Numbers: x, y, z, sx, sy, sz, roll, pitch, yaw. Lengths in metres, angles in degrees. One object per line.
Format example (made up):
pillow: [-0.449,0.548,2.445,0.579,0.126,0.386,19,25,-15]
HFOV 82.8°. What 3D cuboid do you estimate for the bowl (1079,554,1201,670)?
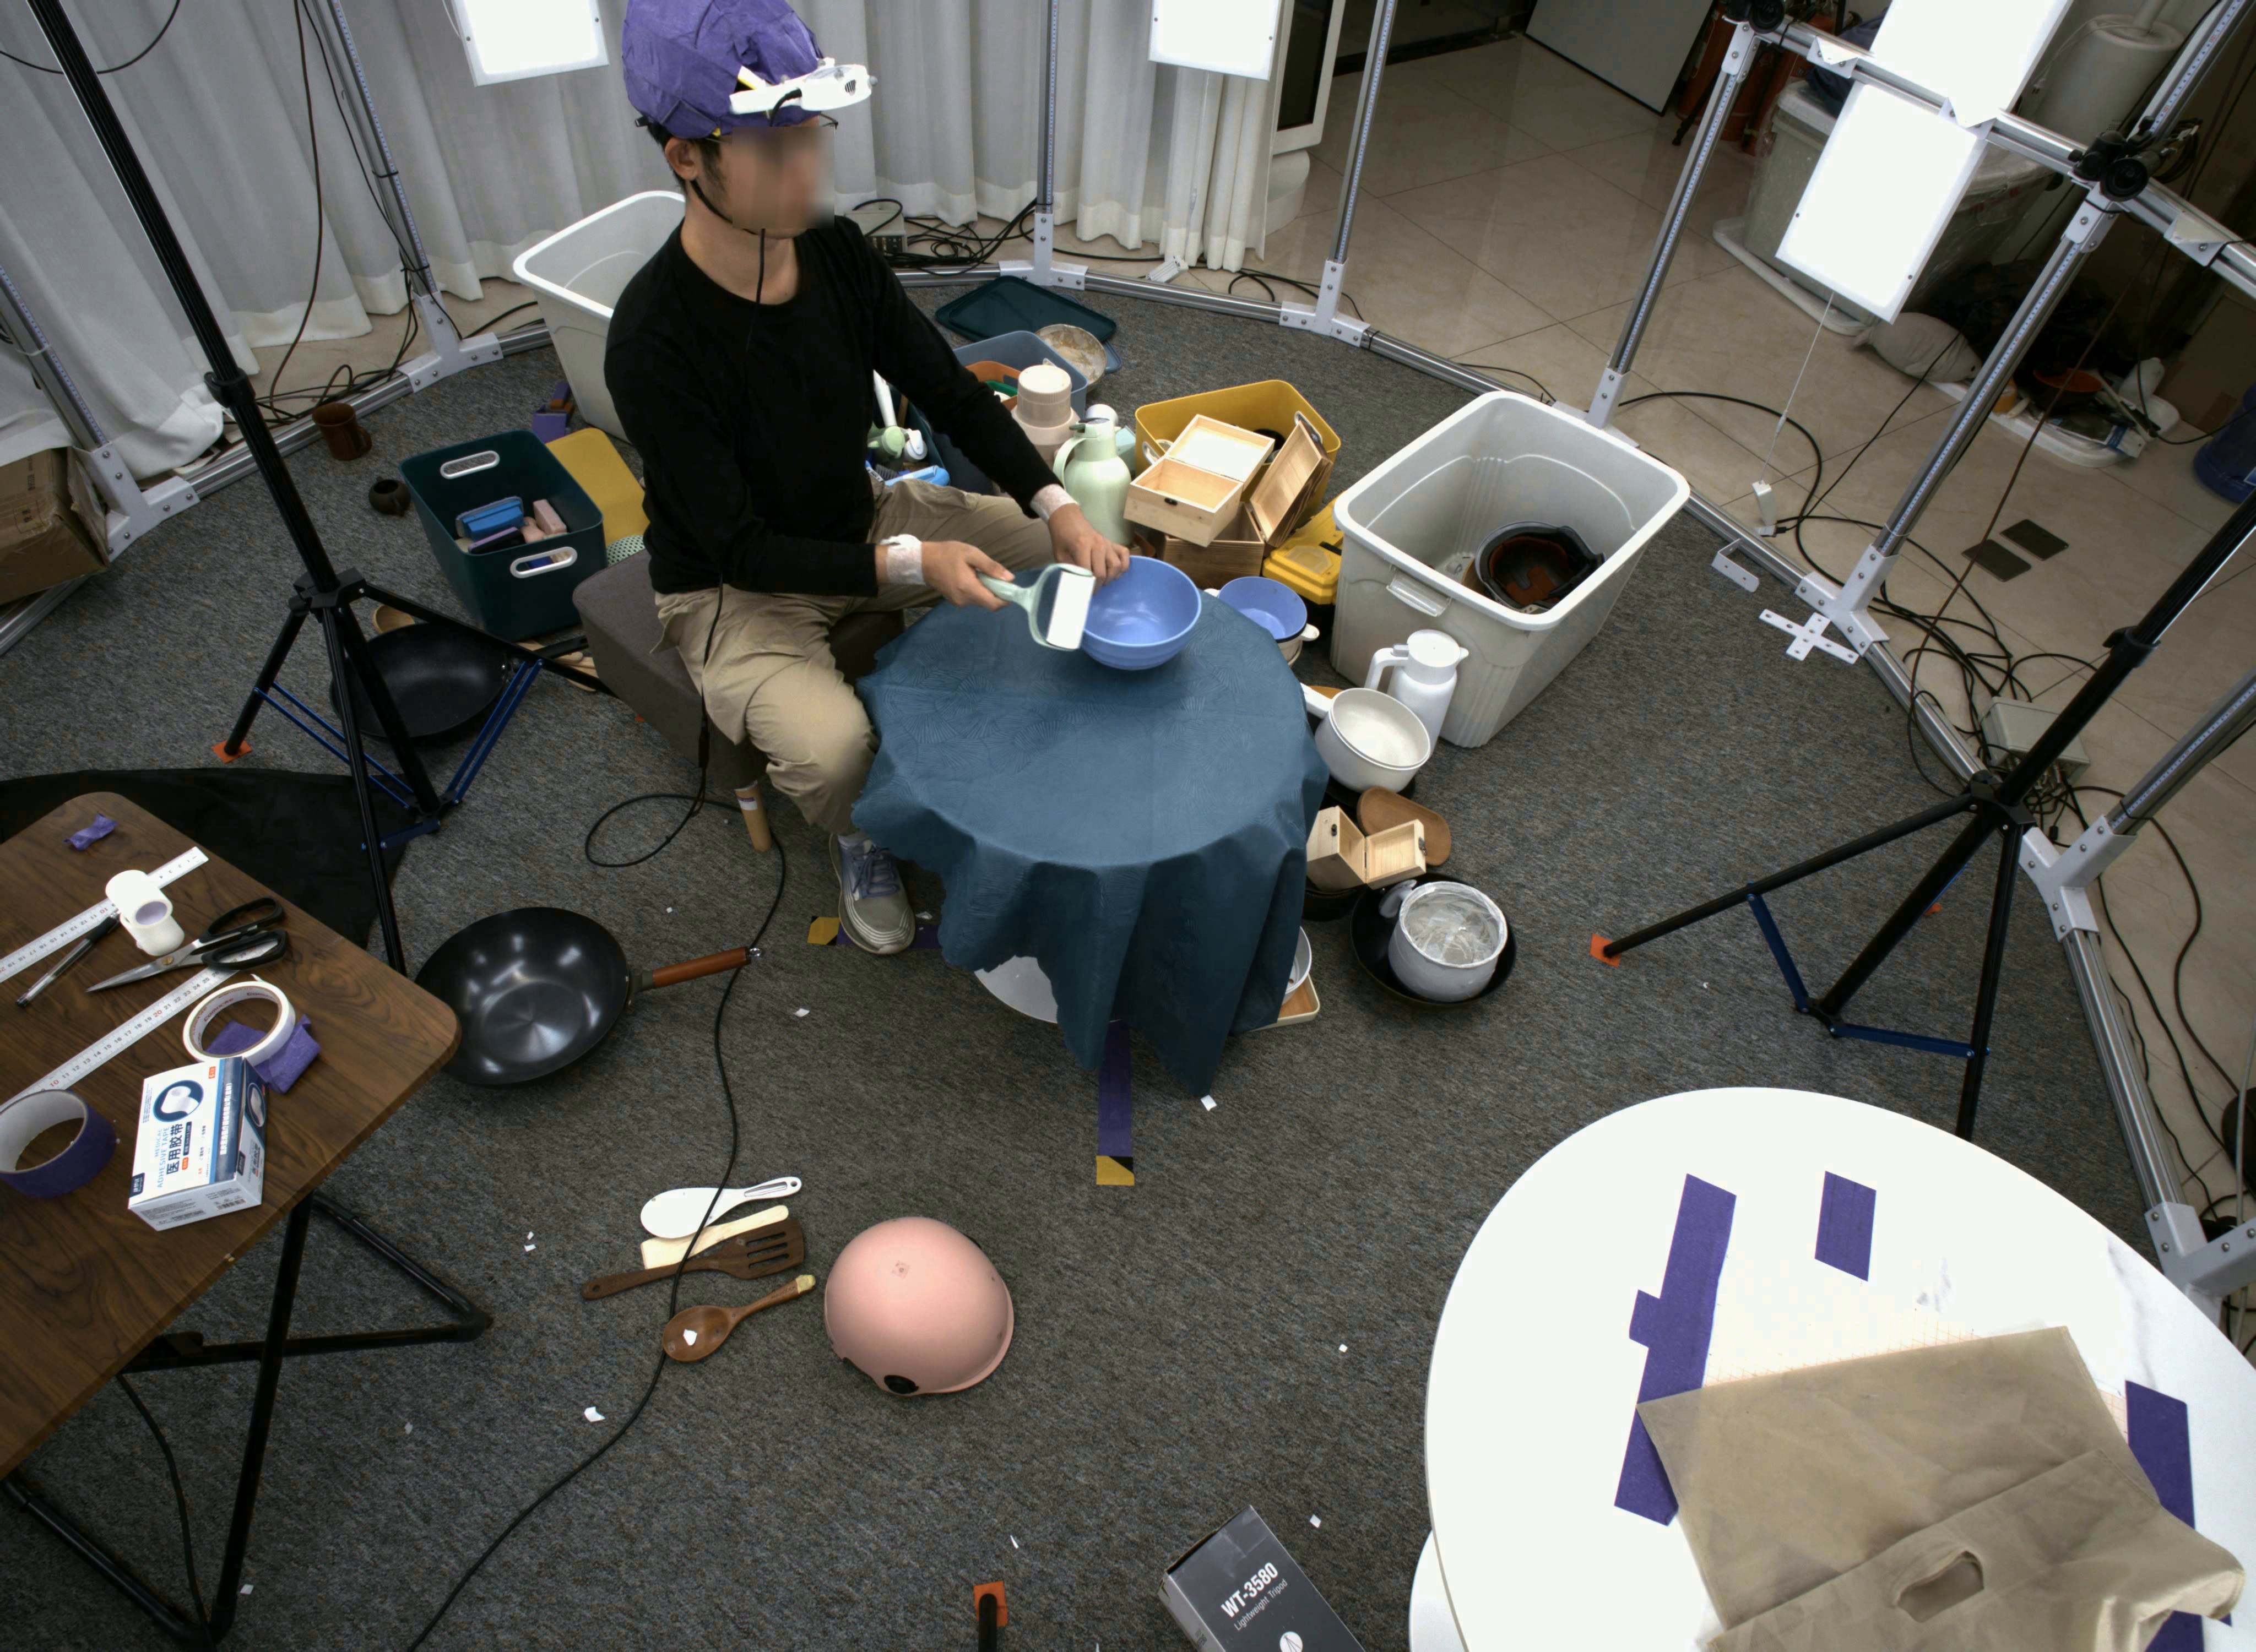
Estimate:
bowl: [0.004,-0.295,1.863,0.196,0.093,0.201,2,50,-2]

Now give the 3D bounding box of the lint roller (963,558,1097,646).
lint roller: [-0.142,-0.326,1.775,0.198,0.115,0.049,18,17,14]
